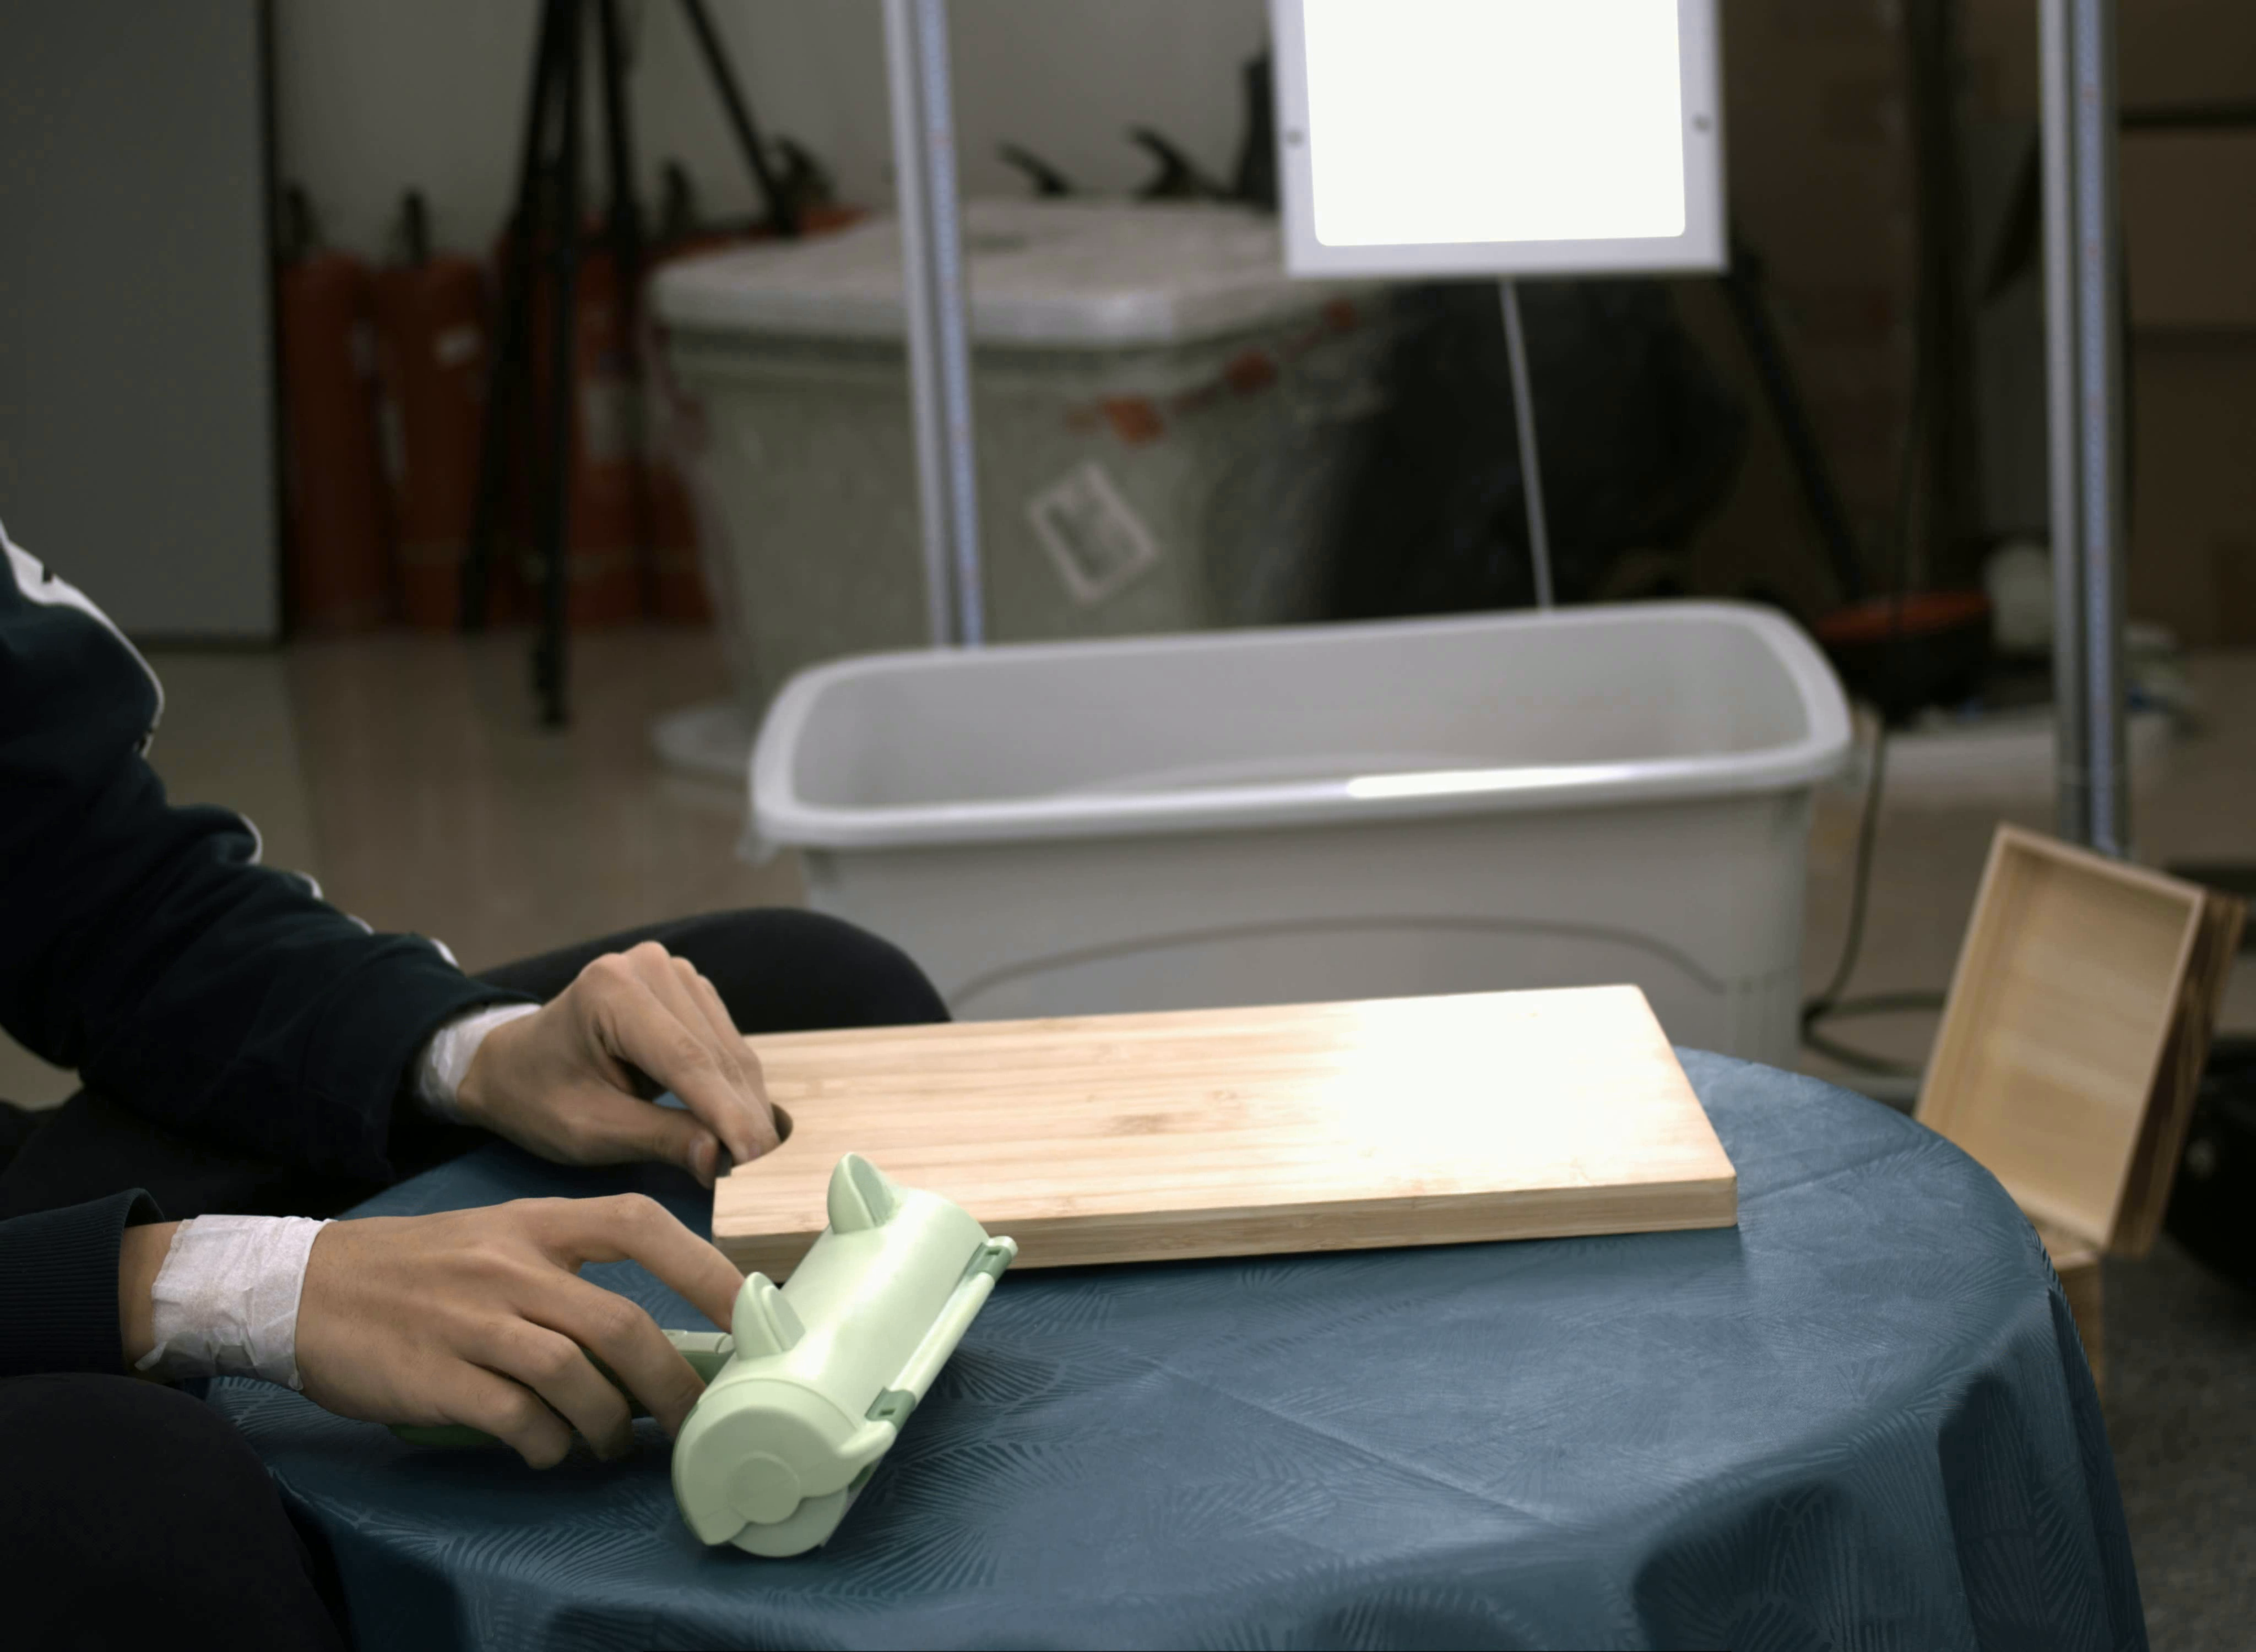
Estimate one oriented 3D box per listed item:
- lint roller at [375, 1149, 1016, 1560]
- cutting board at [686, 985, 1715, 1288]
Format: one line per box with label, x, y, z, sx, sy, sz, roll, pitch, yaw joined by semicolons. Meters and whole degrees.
lint roller;-0.141;0.152;1.674;0.184;0.082;0.196;4;16;12
cutting board;0.022;0.106;1.920;0.347;0.024;0.250;-4;13;-1
